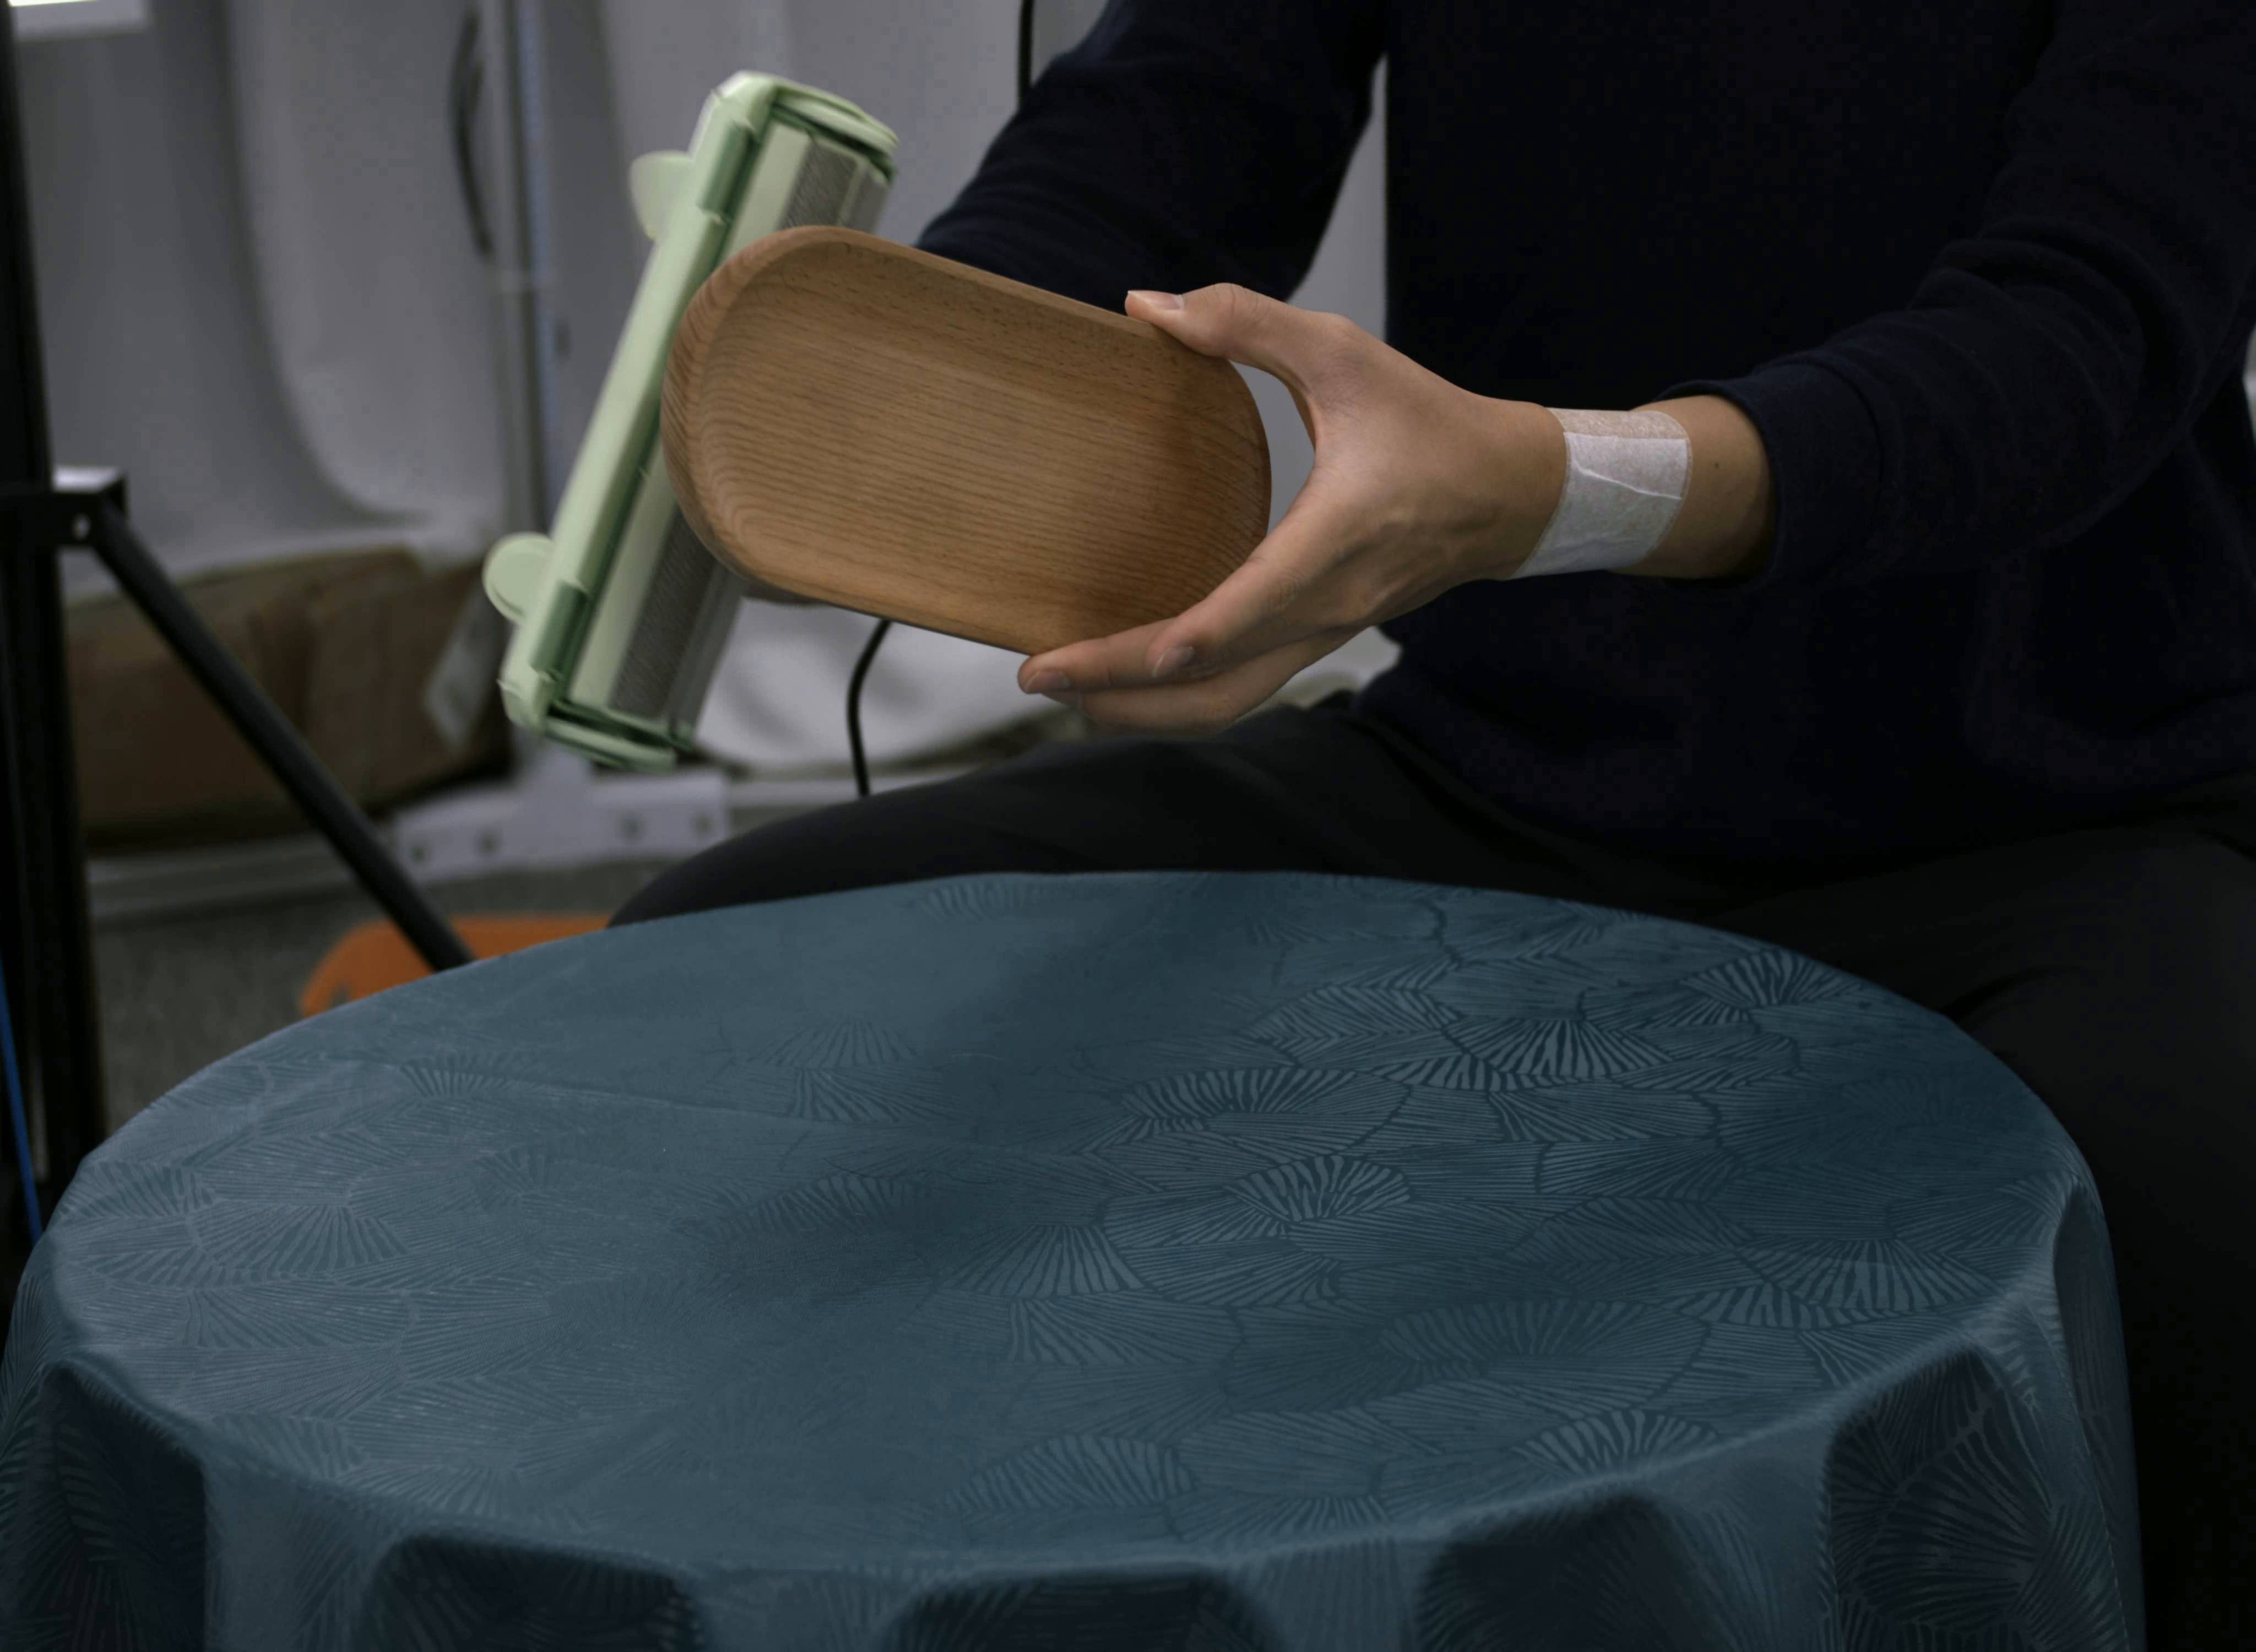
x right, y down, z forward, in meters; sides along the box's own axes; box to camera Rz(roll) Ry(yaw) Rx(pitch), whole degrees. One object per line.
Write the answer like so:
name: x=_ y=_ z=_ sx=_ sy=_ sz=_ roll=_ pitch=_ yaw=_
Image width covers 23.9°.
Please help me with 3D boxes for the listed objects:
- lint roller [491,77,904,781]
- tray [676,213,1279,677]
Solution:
lint roller: x=-0.120 y=-0.112 z=1.566 sx=0.082 sy=0.199 sz=0.182 roll=21 pitch=0 yaw=5
tray: x=-0.038 y=-0.103 z=1.479 sx=0.021 sy=0.102 sz=0.225 roll=10 pitch=-2 yaw=43
